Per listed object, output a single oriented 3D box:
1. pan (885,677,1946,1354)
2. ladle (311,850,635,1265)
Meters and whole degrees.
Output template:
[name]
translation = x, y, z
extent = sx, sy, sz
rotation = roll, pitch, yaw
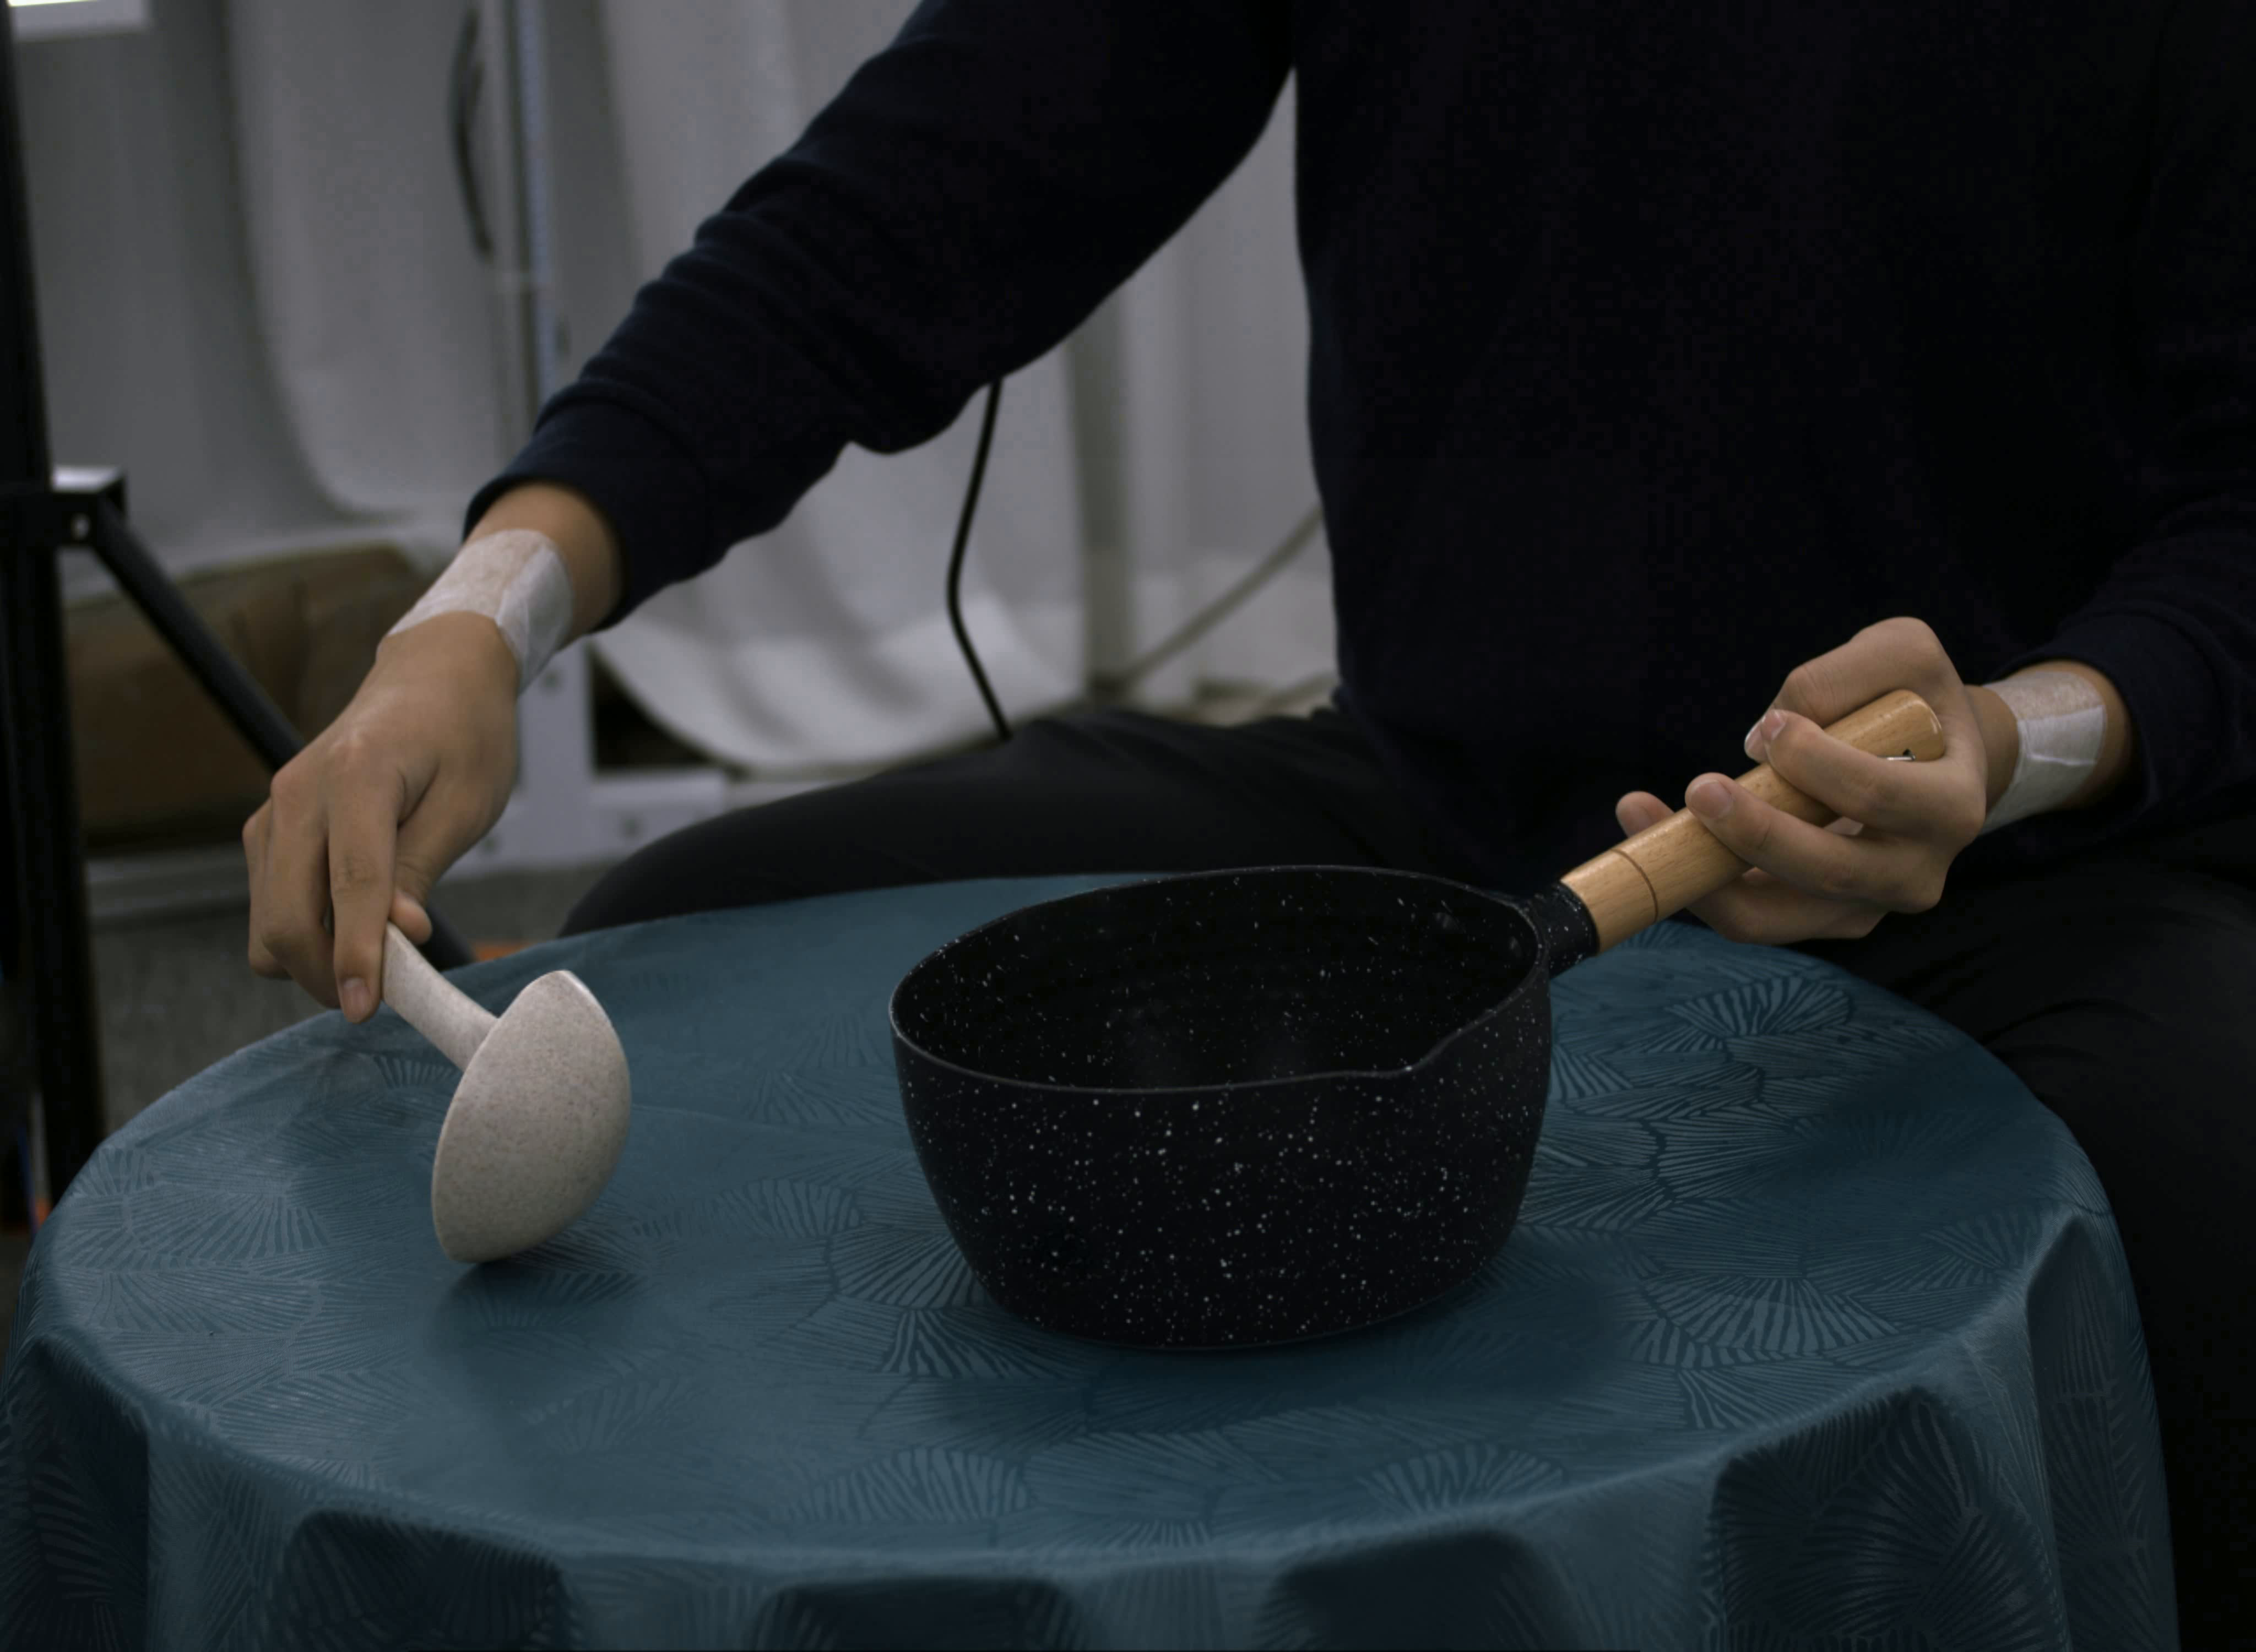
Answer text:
[pan]
translation = 0.095, 0.050, 1.512
extent = 0.336, 0.108, 0.212
rotation = -17, 19, -26
[ladle]
translation = -0.224, 0.051, 1.611
extent = 0.067, 0.089, 0.281
rotation = 5, 14, -31
